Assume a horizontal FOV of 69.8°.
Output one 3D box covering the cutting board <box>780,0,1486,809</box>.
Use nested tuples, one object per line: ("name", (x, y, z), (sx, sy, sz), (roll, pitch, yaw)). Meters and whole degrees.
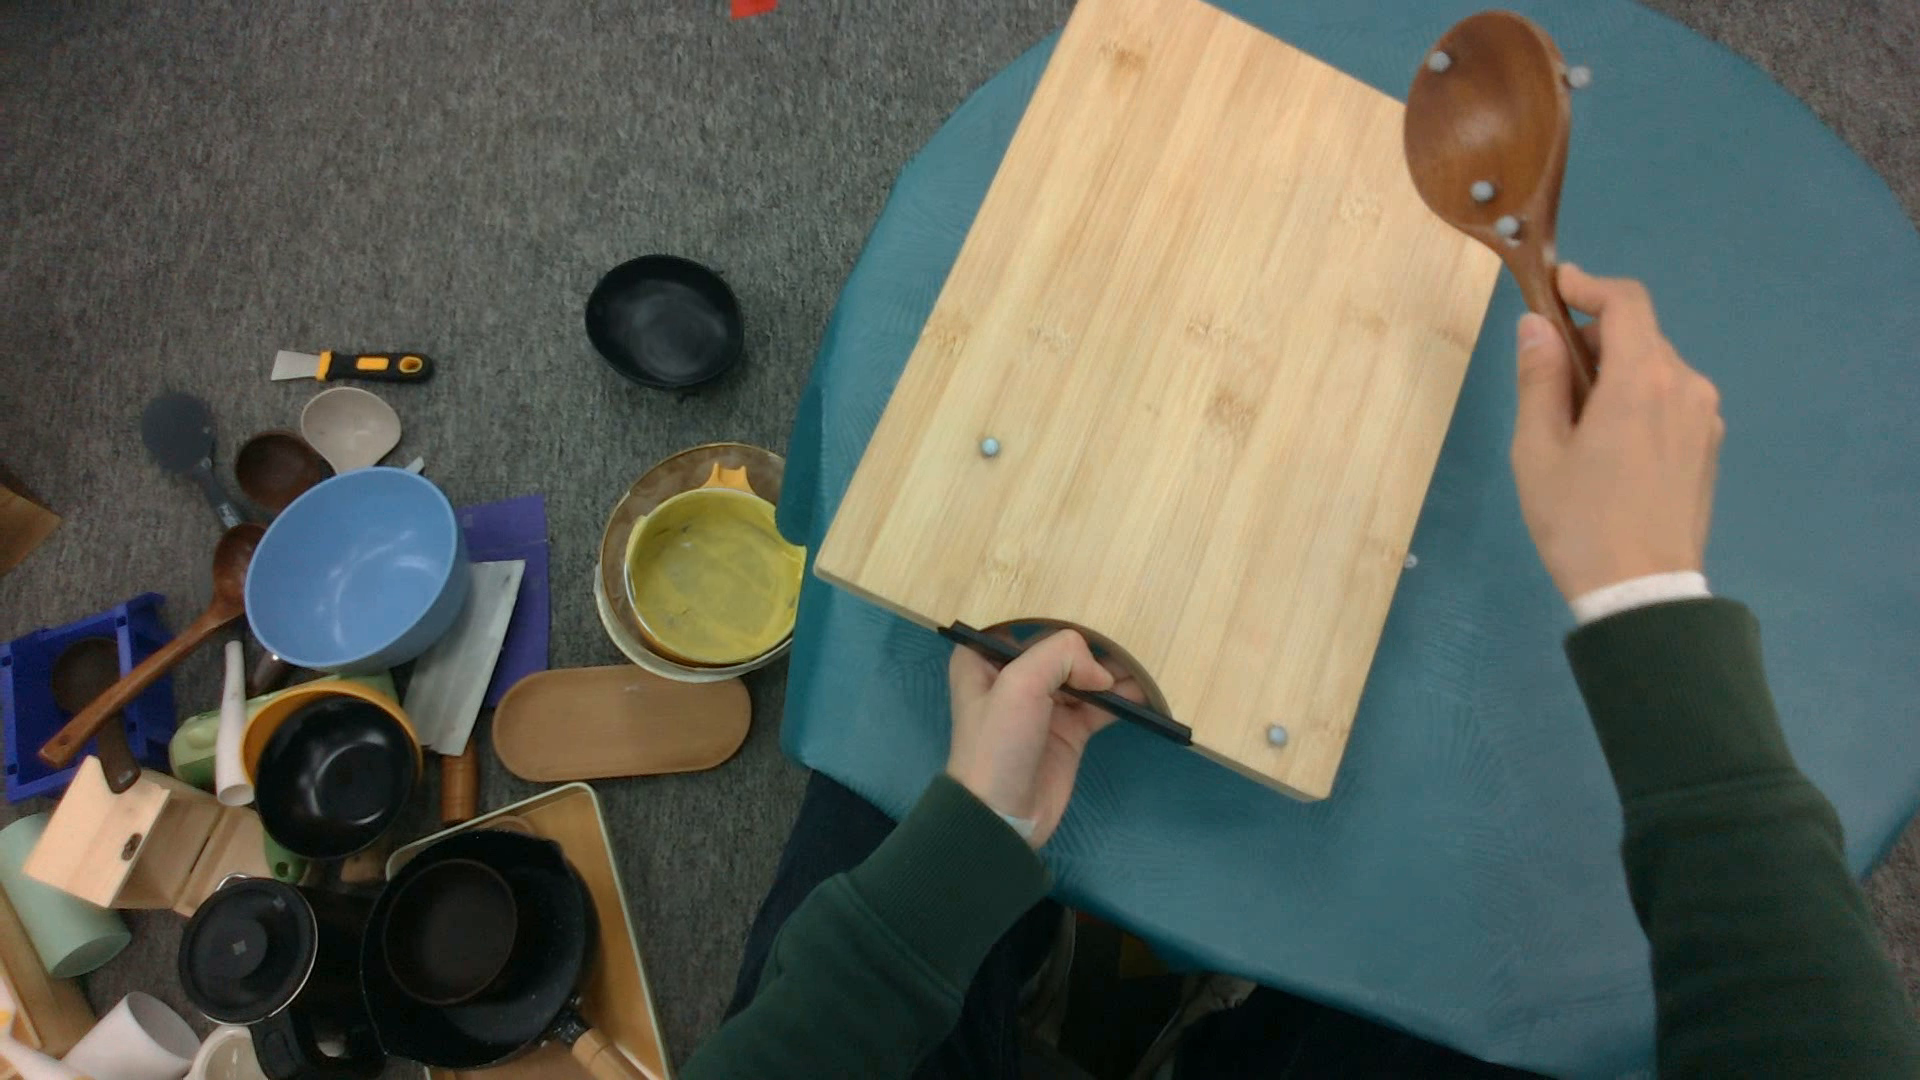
("cutting board", (0.101, -0.084, 0.633), (0.251, 0.023, 0.350), (24, 72, -5))

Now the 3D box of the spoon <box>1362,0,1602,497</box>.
("spoon", (0.211, -0.118, 0.544), (0.017, 0.075, 0.216), (6, 65, -36))
